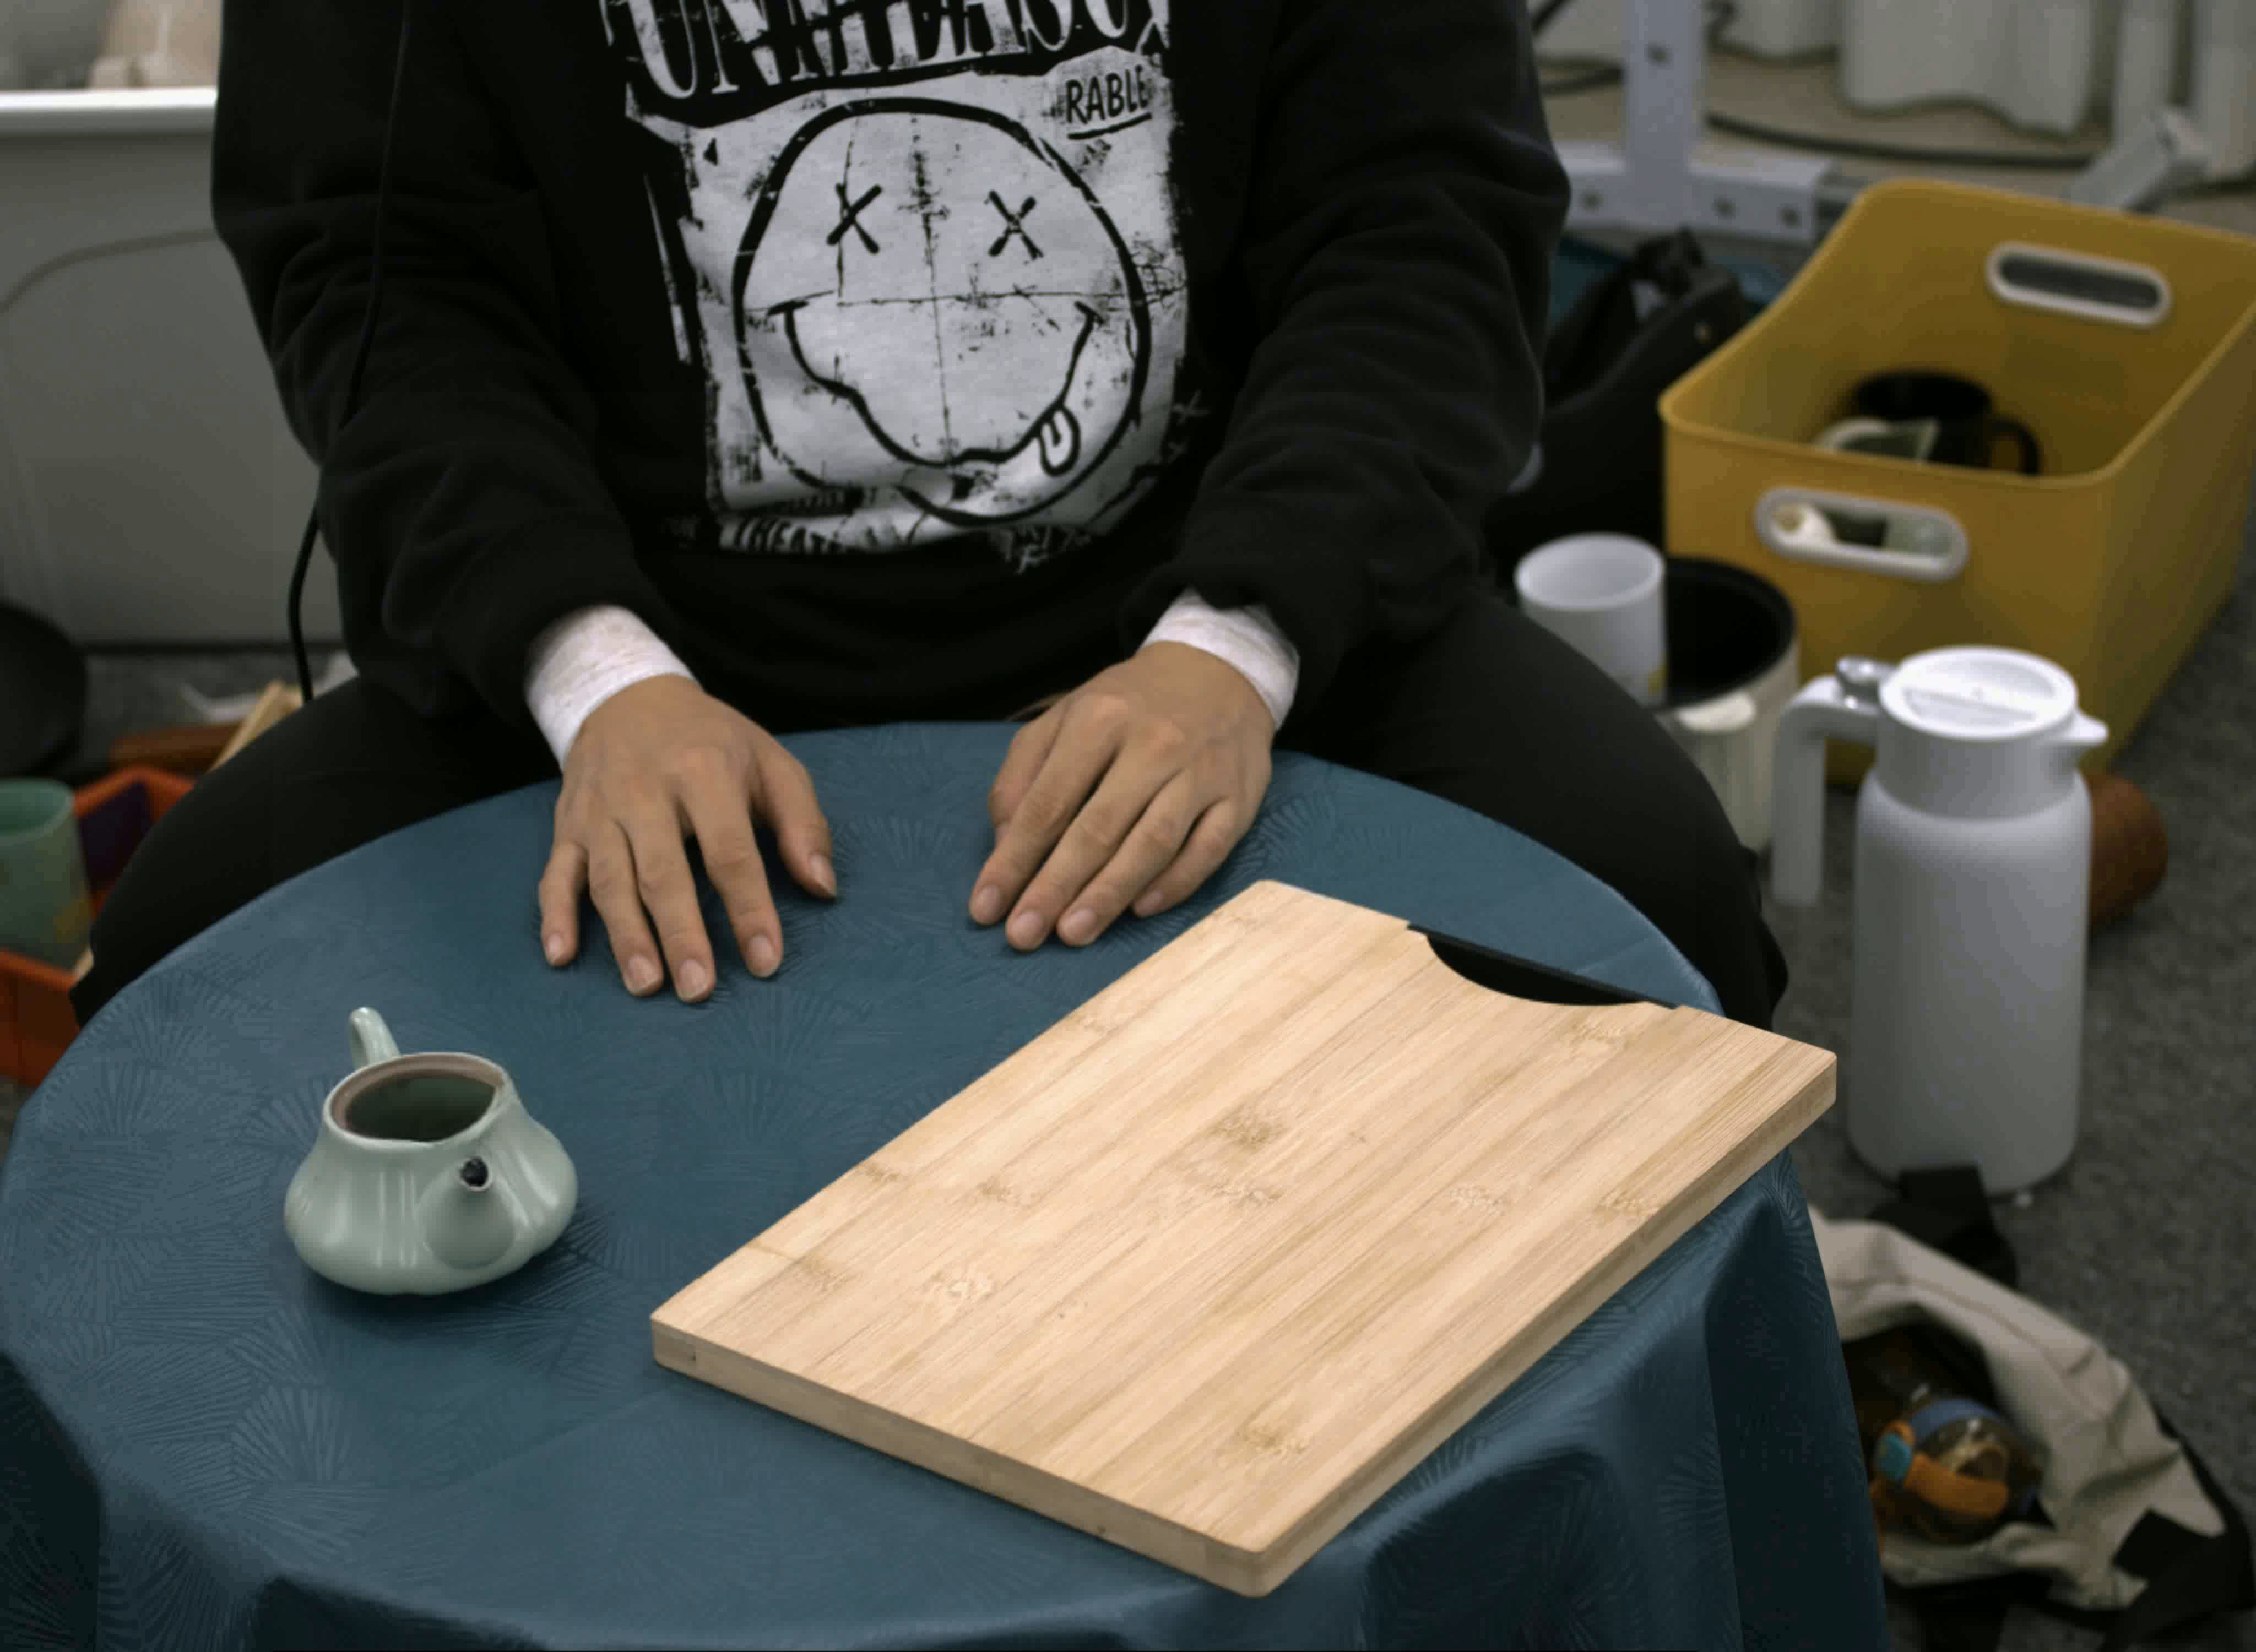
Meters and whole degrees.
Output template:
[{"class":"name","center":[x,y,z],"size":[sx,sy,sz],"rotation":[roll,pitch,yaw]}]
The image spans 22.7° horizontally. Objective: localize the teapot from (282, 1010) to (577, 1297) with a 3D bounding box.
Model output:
[{"class":"teapot","center":[-0.232,0.110,1.838],"size":[0.096,0.061,0.138],"rotation":[-16,30,-22]}]

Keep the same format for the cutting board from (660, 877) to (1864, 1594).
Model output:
[{"class":"cutting board","center":[0.047,0.122,1.835],"size":[0.249,0.023,0.354],"rotation":[16,33,32]}]
